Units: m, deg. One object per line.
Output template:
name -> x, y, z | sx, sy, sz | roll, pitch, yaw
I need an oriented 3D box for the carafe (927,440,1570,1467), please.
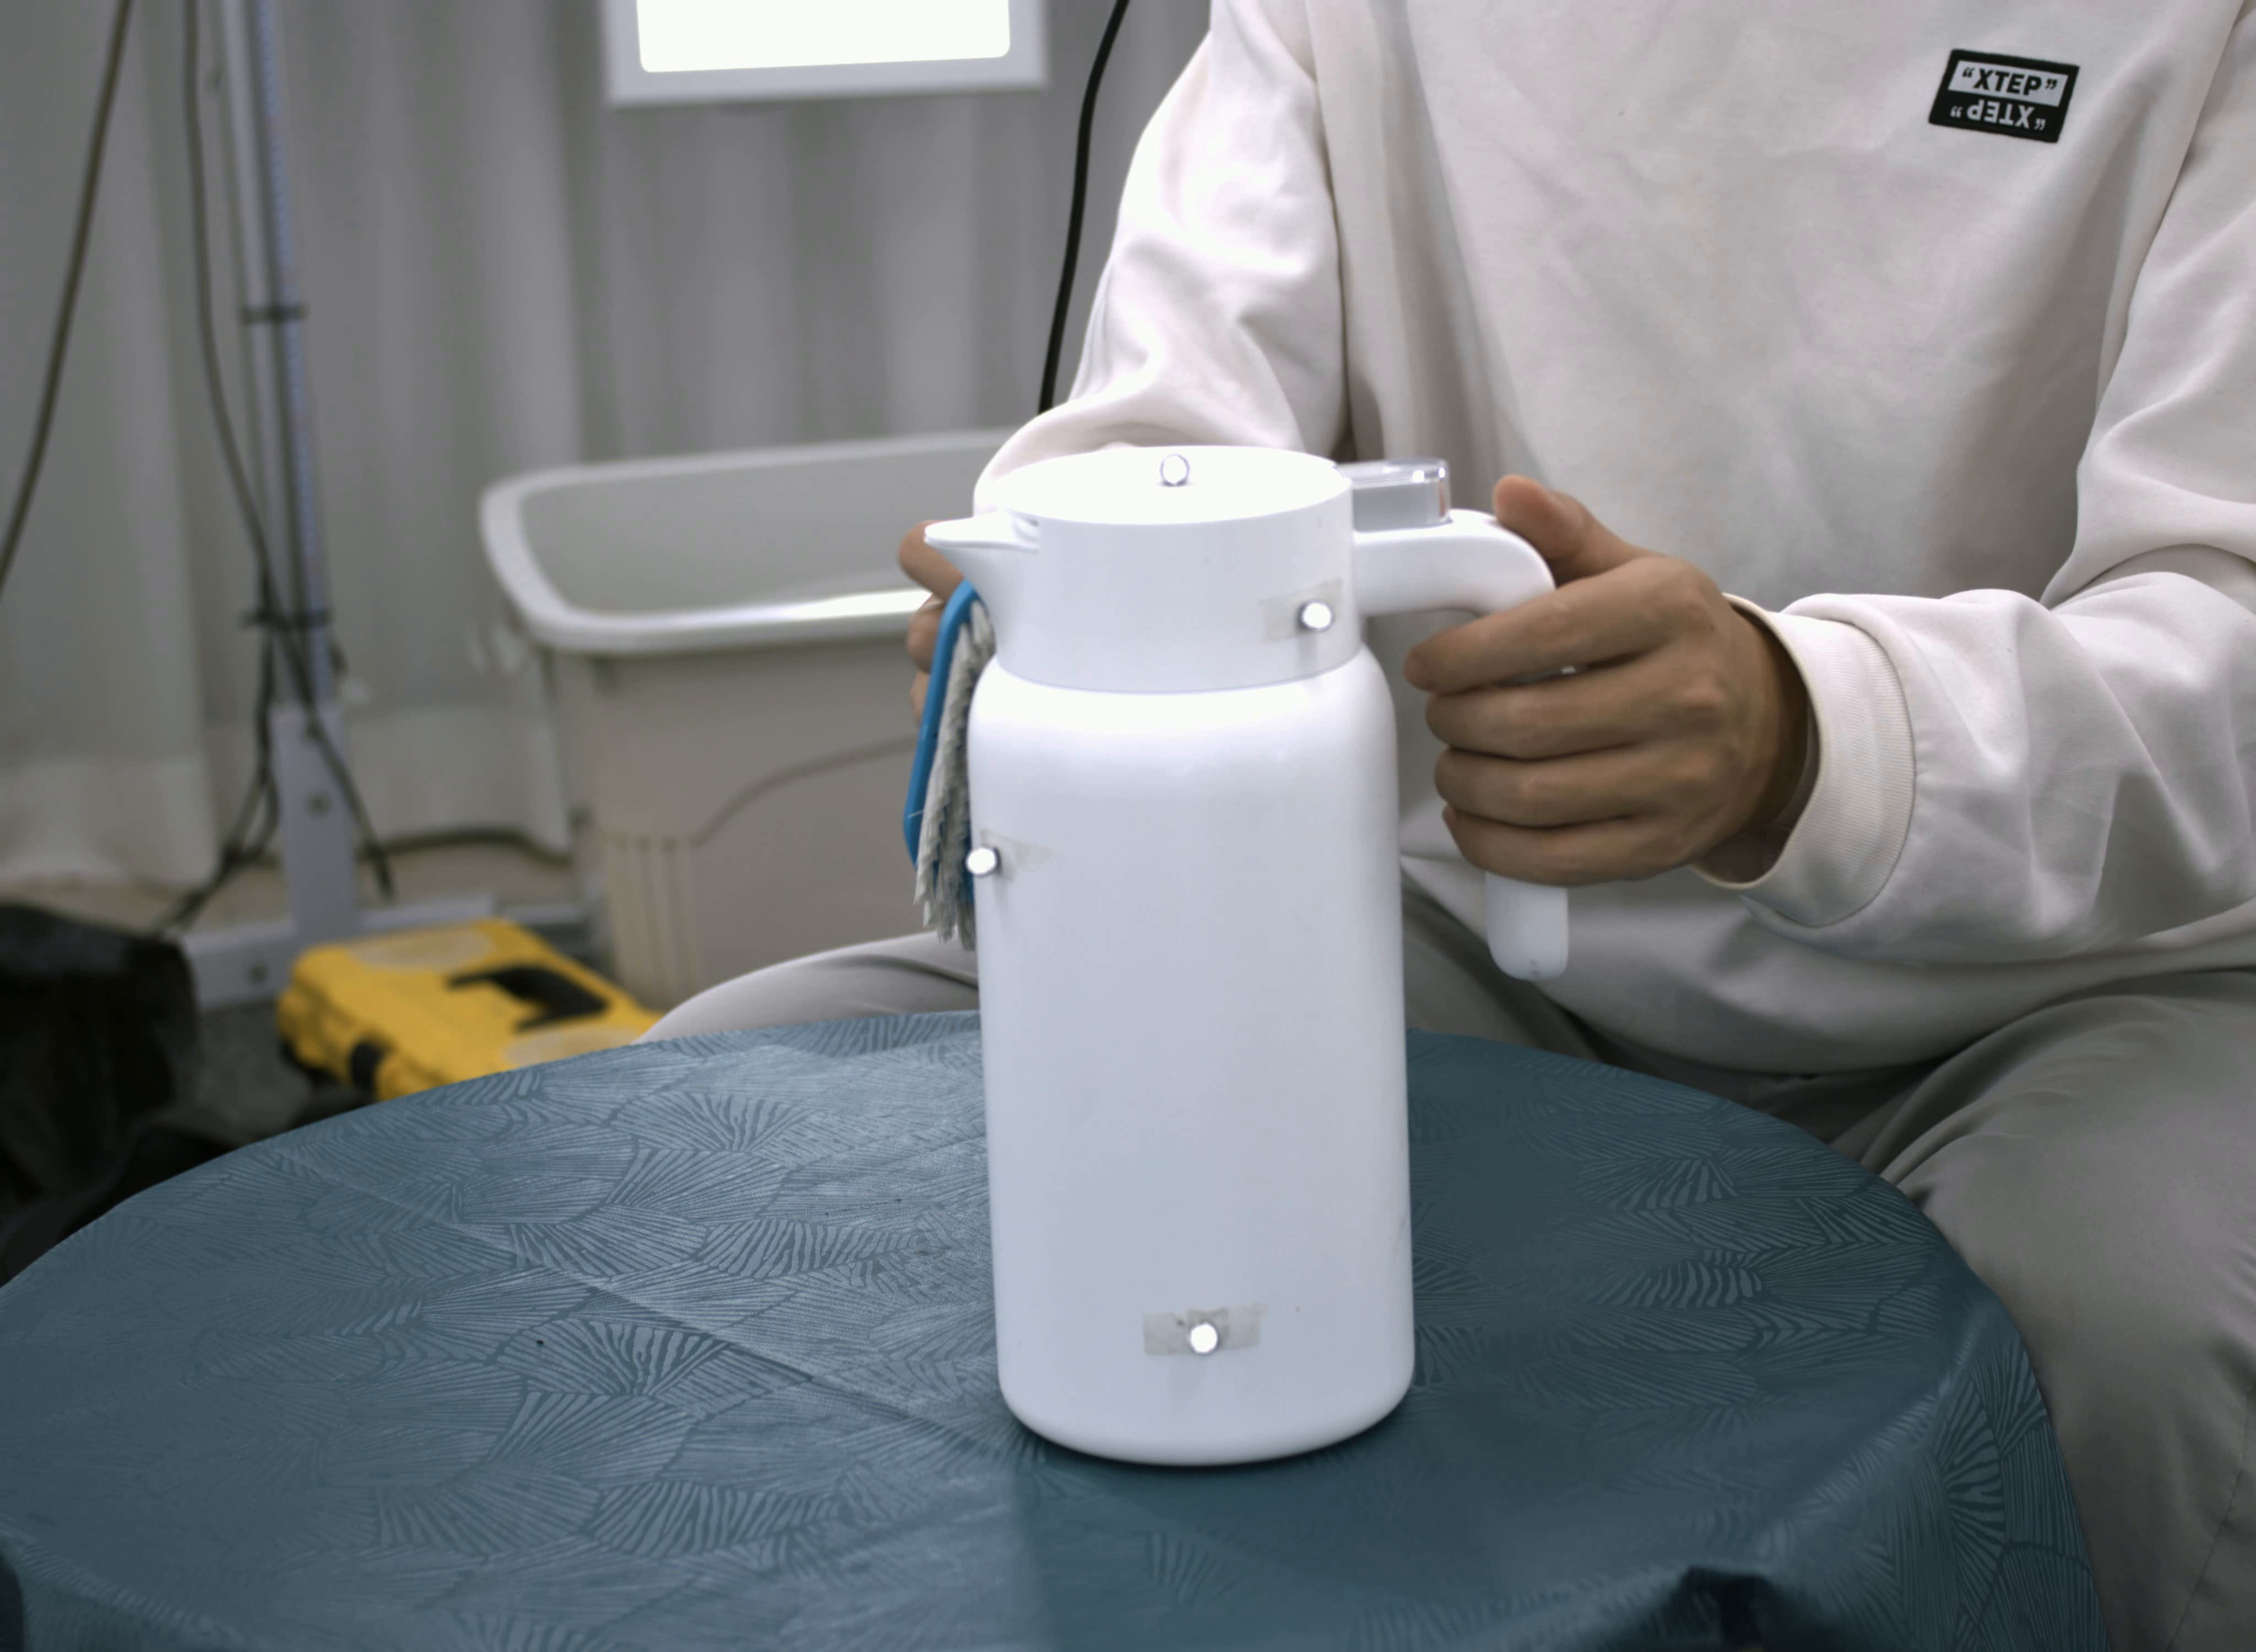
carafe -> 0.035, 0.032, 1.508 | 0.172, 0.268, 0.124 | -4, 12, -8

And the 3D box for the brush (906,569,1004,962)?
brush -> -0.022, -0.030, 1.593 | 0.084, 0.140, 0.065 | -3, 37, -17
